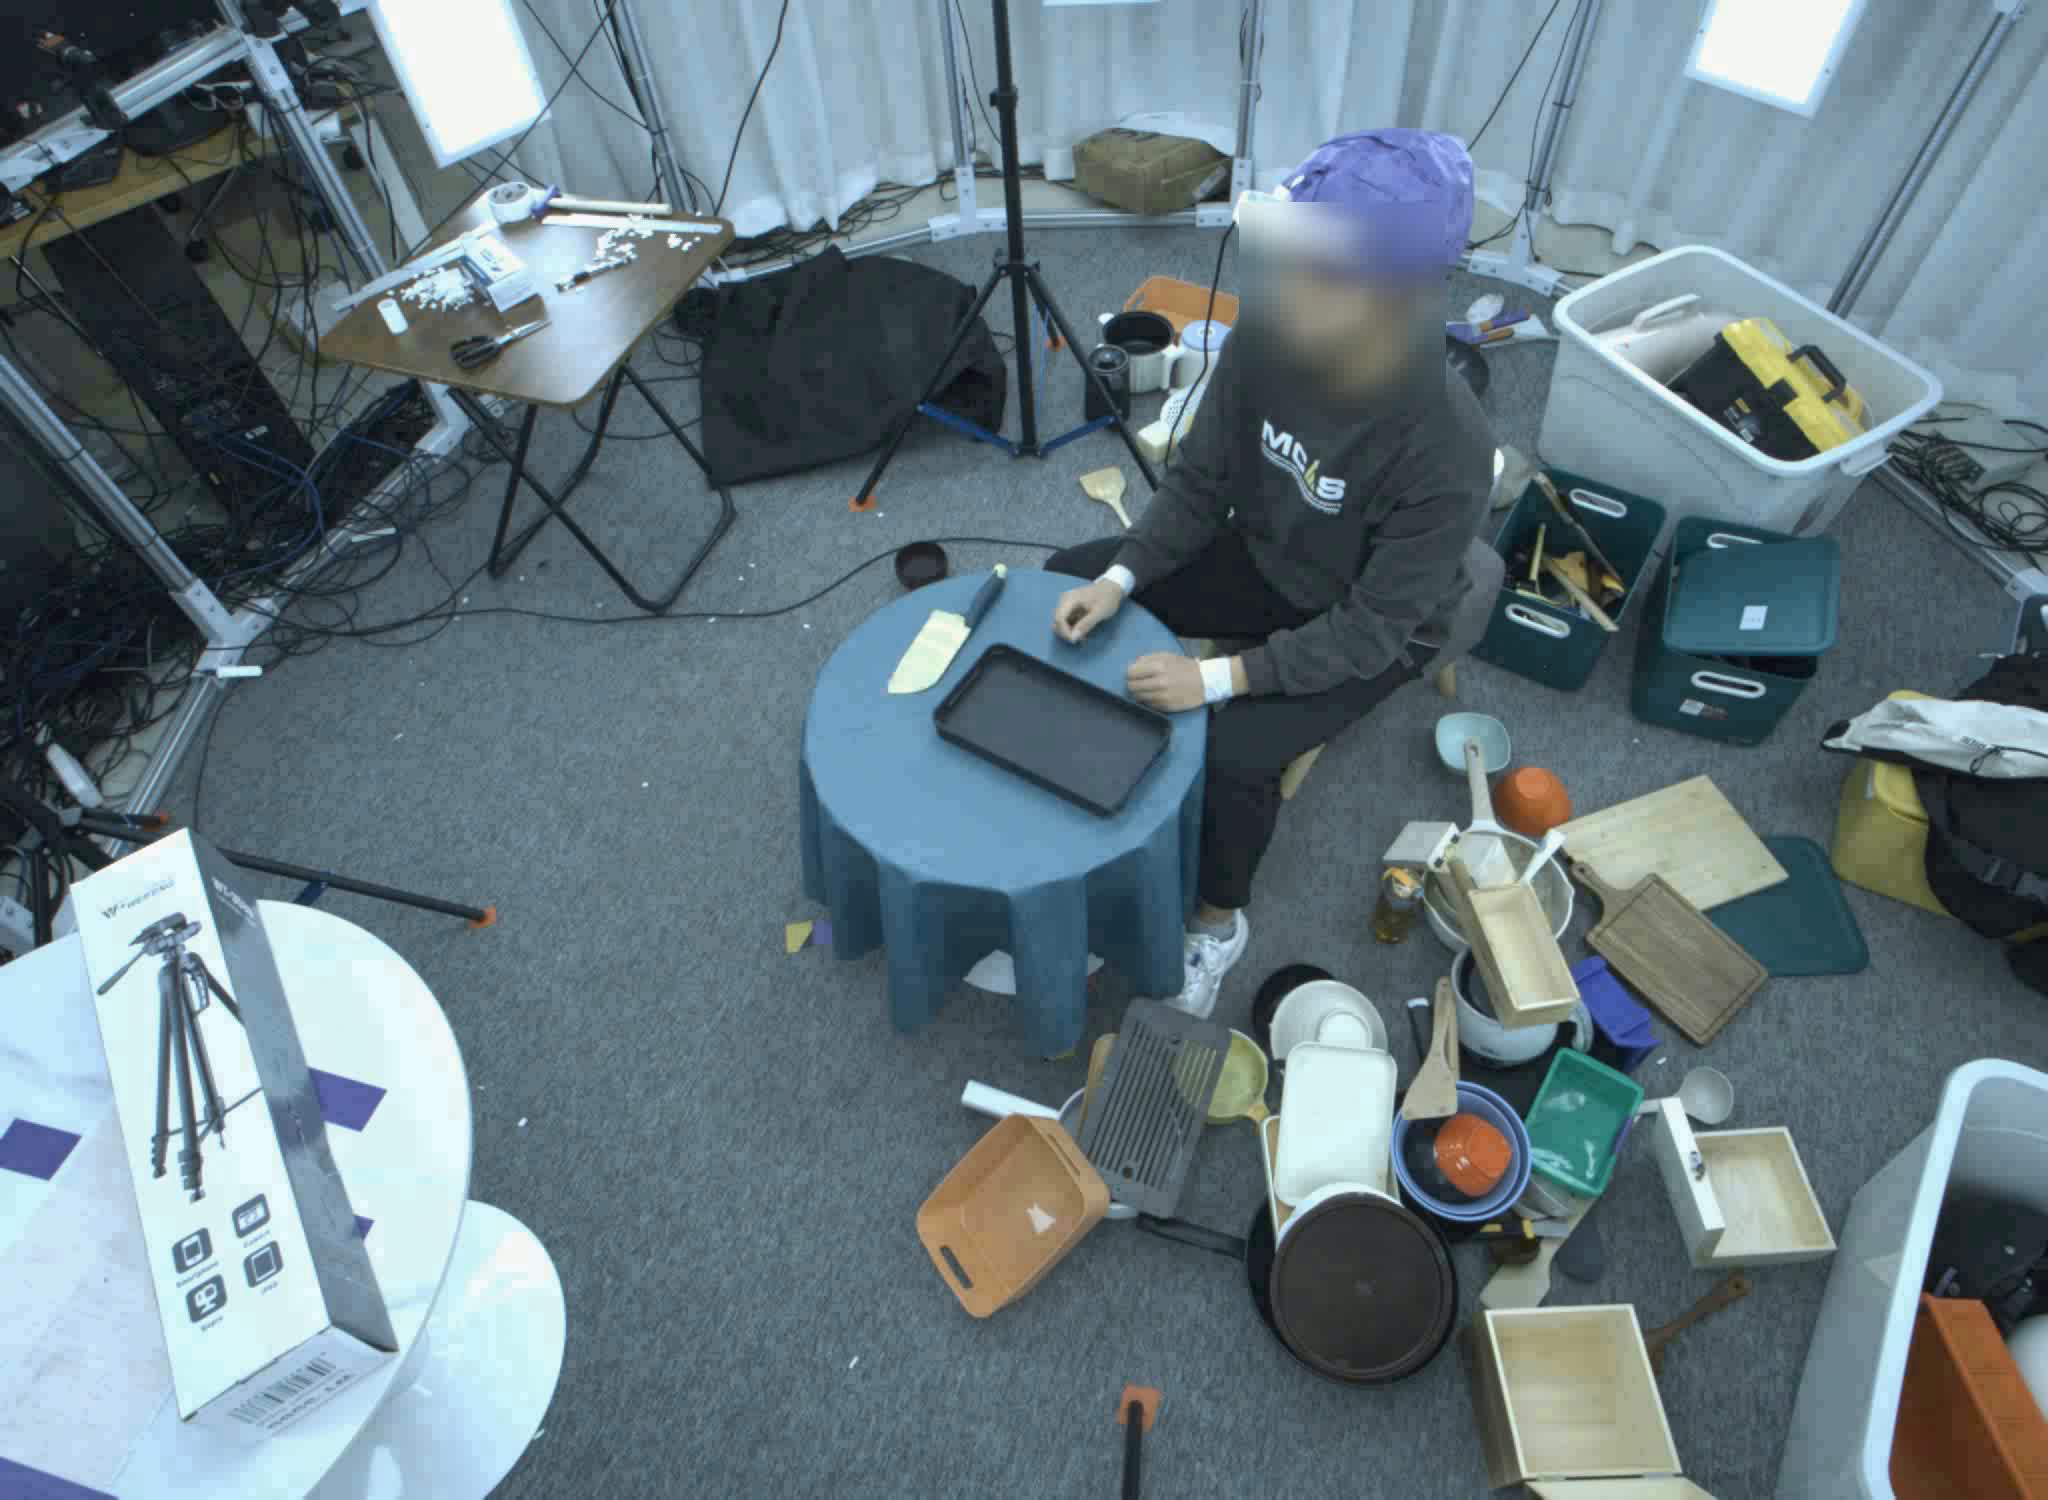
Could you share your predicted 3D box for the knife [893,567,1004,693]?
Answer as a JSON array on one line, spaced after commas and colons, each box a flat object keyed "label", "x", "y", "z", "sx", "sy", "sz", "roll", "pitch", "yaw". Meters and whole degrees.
[{"label": "knife", "x": -0.118, "y": -0.191, "z": 1.926, "sx": 0.080, "sy": 0.027, "sz": 0.290, "roll": 25, "pitch": 60, "yaw": 16}]

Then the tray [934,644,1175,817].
[{"label": "tray", "x": 0.044, "y": -0.032, "z": 1.795, "sx": 0.313, "sy": 0.037, "sz": 0.185, "roll": 25, "pitch": 58, "yaw": 18}]
